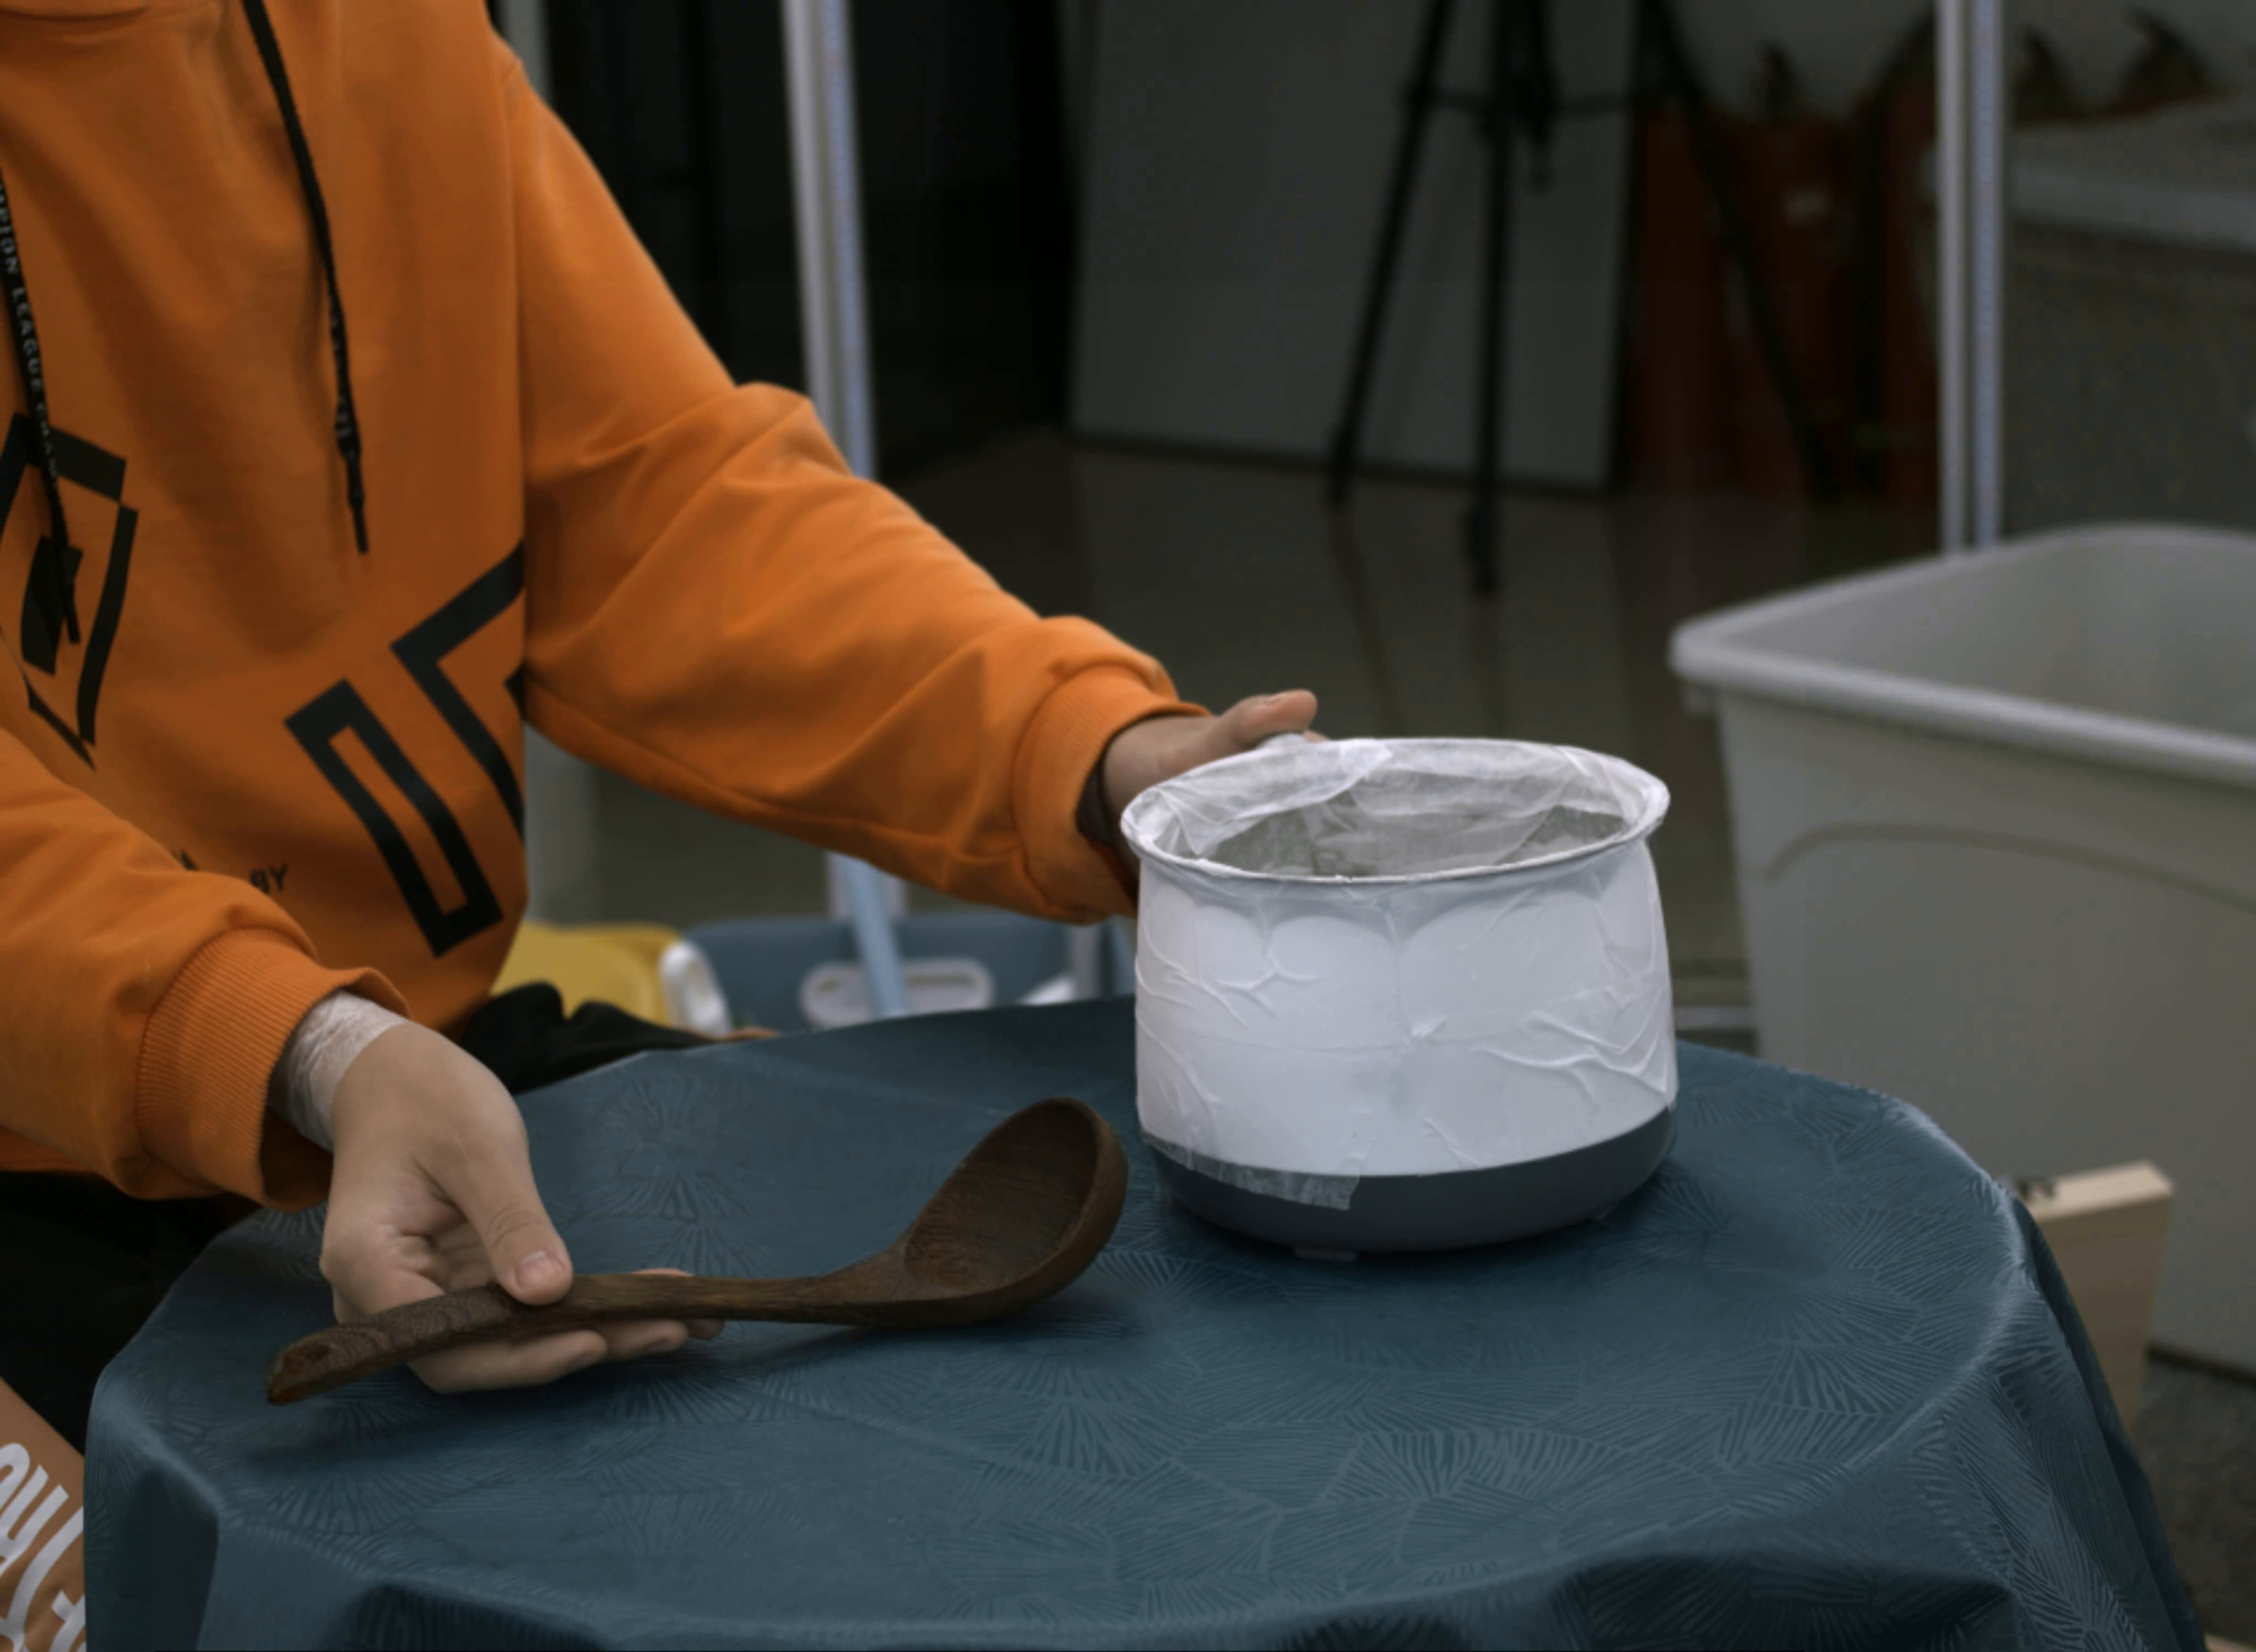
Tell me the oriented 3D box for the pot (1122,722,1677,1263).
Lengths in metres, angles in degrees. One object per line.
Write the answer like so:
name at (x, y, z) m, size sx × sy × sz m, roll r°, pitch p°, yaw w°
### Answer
pot at (0.078, 0.047, 1.757) m, size 0.175 × 0.138 × 0.236 m, roll -8°, pitch 14°, yaw -18°

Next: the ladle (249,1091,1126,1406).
ladle at (-0.129, 0.125, 1.621) m, size 0.268 × 0.072 × 0.077 m, roll -4°, pitch 16°, yaw -22°
